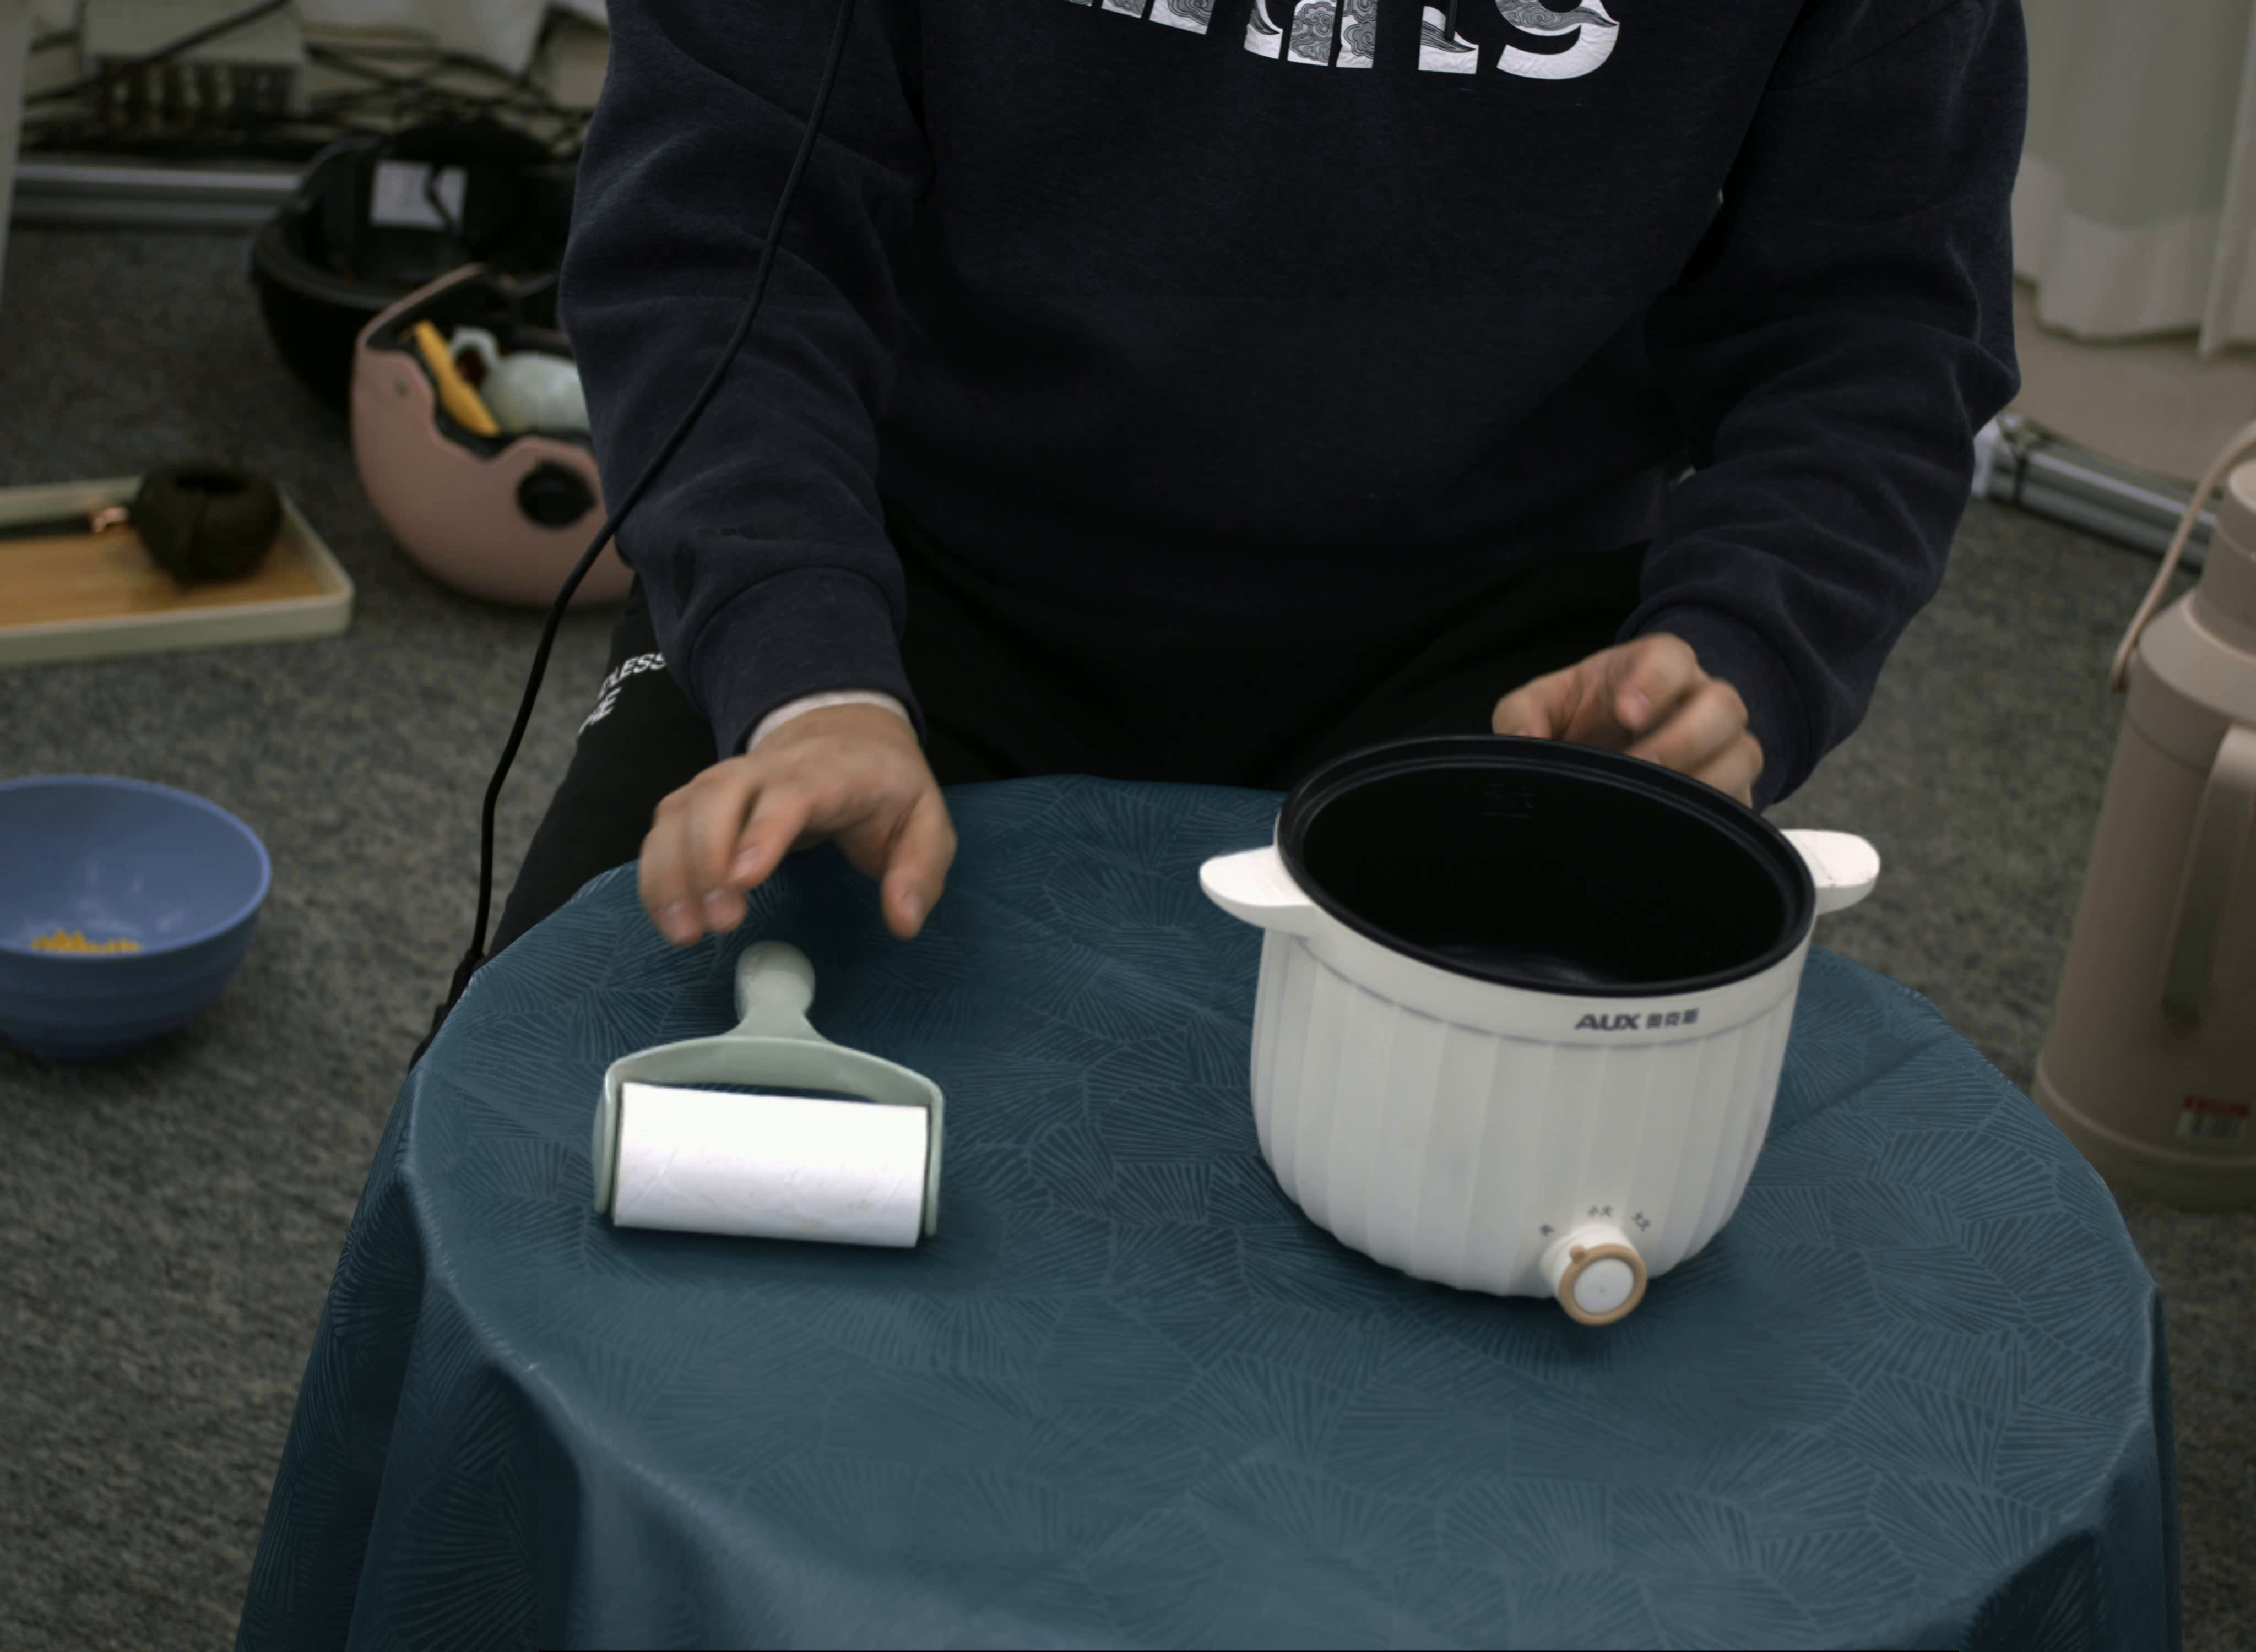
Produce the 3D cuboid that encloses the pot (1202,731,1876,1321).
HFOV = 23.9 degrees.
[{"bbox_3d":[0.135,0.070,1.791,0.239,0.142,0.192,-3,25,-17],"label":"pot"}]

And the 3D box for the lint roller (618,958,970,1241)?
[{"bbox_3d":[-0.114,0.082,1.816,0.116,0.048,0.199,1,25,-4],"label":"lint roller"}]
